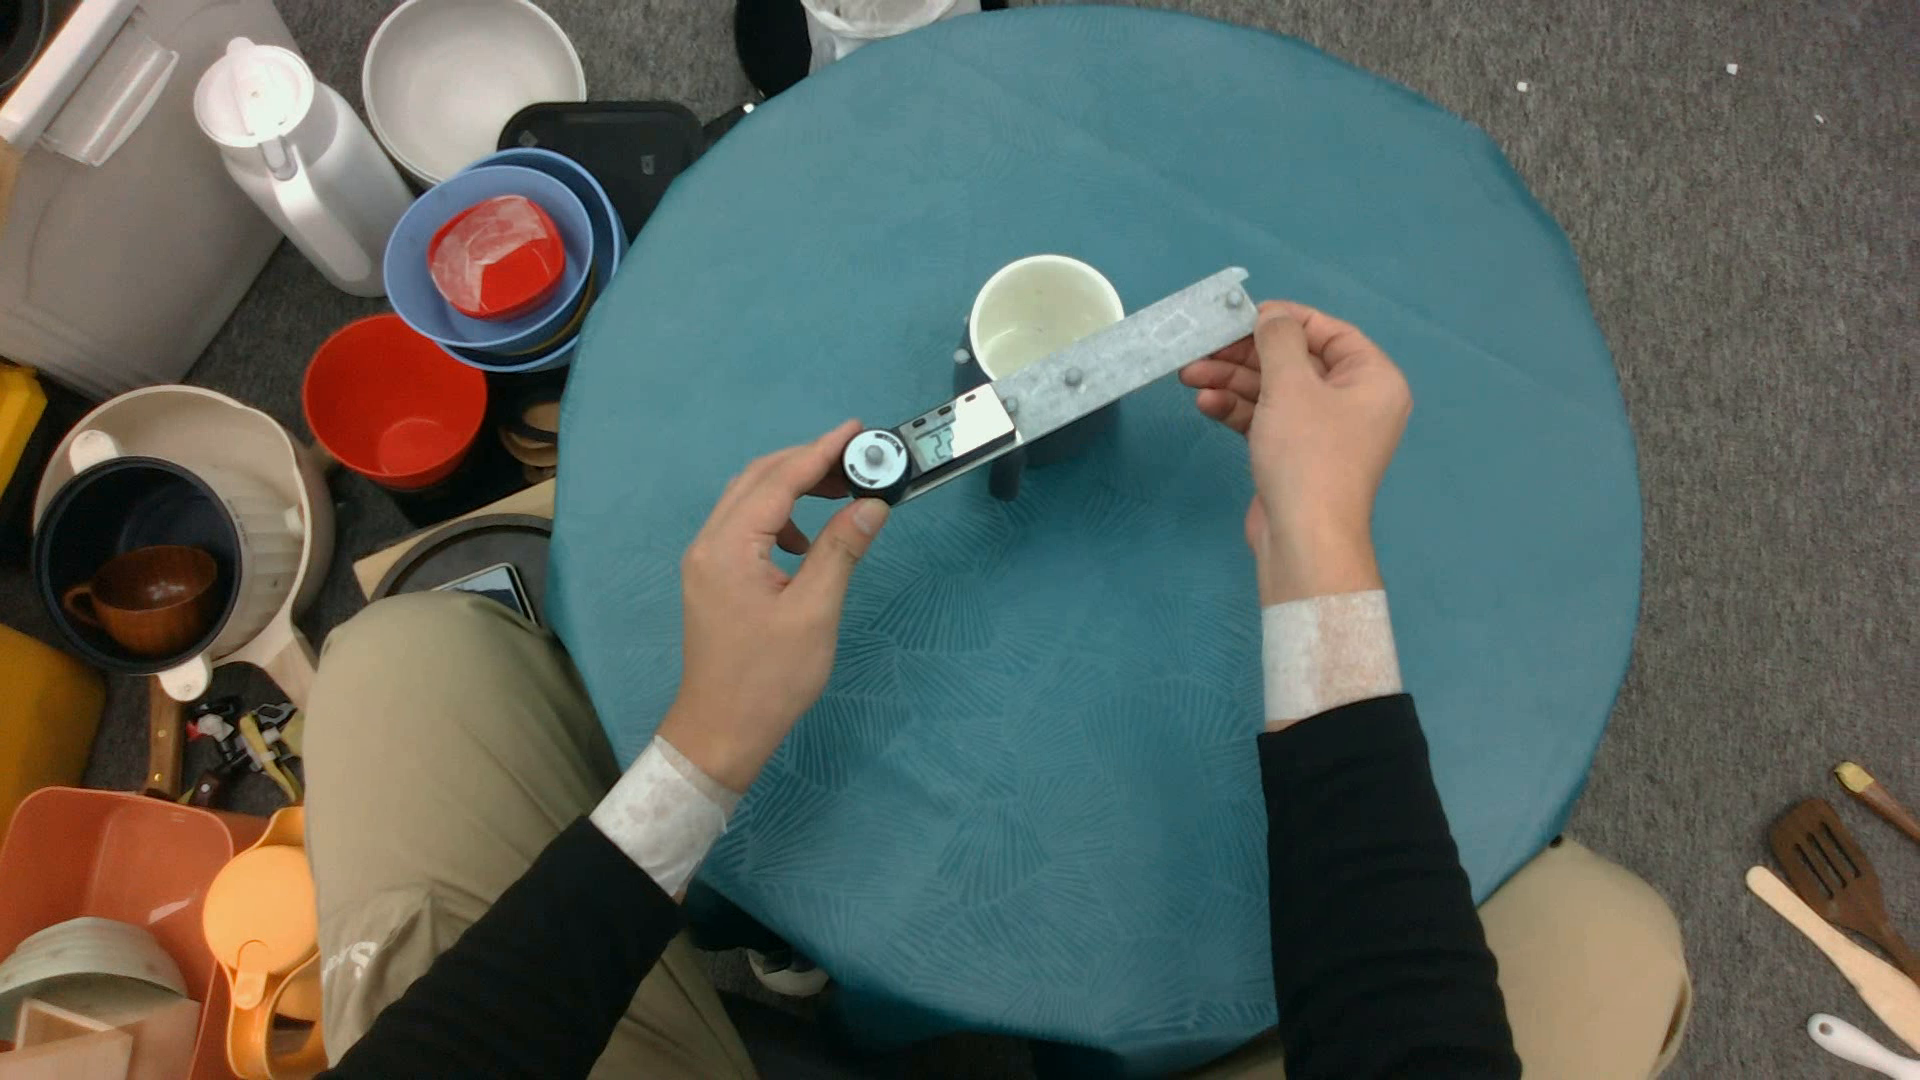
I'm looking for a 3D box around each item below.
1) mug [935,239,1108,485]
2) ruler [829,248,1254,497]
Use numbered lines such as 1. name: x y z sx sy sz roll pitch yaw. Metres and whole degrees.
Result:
1. mug: 0.029 -0.088 0.723 0.093 0.089 0.123 18 73 4
2. ruler: 0.038 -0.081 0.649 0.218 0.024 0.038 -27 80 -6
